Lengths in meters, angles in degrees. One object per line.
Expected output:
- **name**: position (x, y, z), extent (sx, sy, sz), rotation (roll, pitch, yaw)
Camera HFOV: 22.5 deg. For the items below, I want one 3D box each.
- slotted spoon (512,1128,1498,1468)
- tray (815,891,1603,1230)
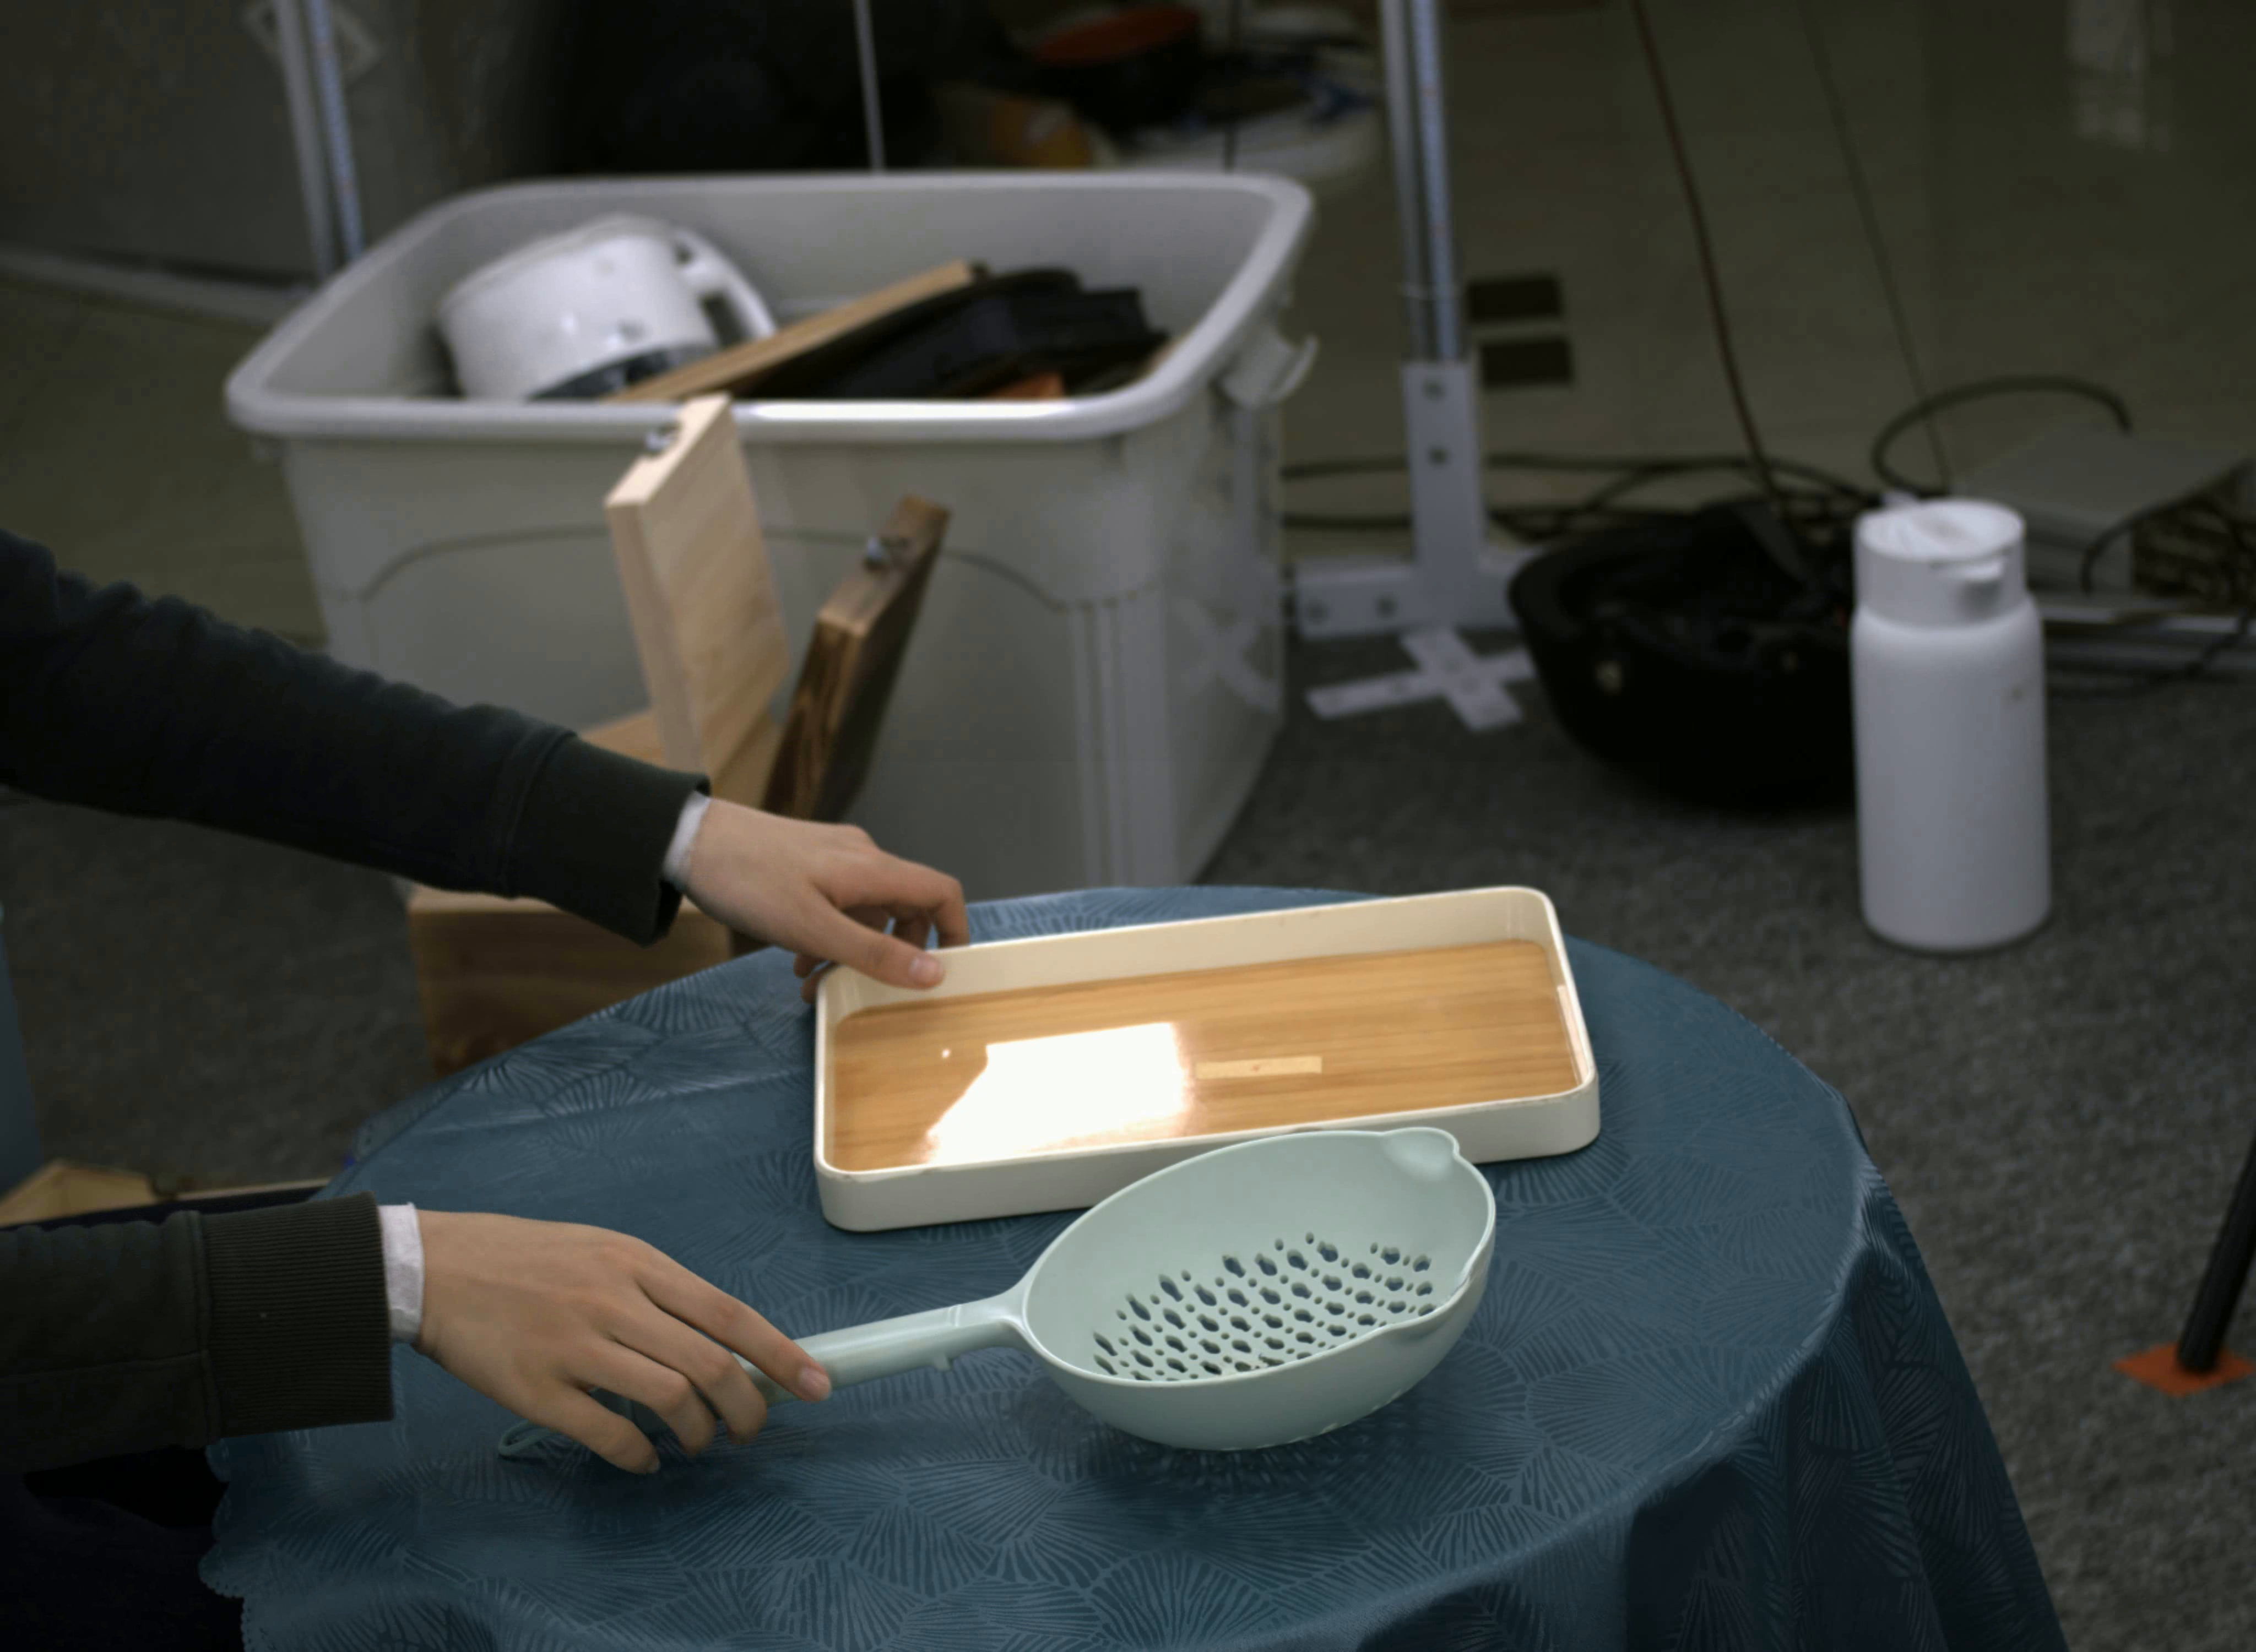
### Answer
- **slotted spoon**: position (-0.046, 0.181, 1.998), extent (0.358, 0.076, 0.167), rotation (-4, 24, 5)
- **tray**: position (0.028, 0.090, 2.220), extent (0.300, 0.028, 0.189), rotation (-6, 25, 0)
